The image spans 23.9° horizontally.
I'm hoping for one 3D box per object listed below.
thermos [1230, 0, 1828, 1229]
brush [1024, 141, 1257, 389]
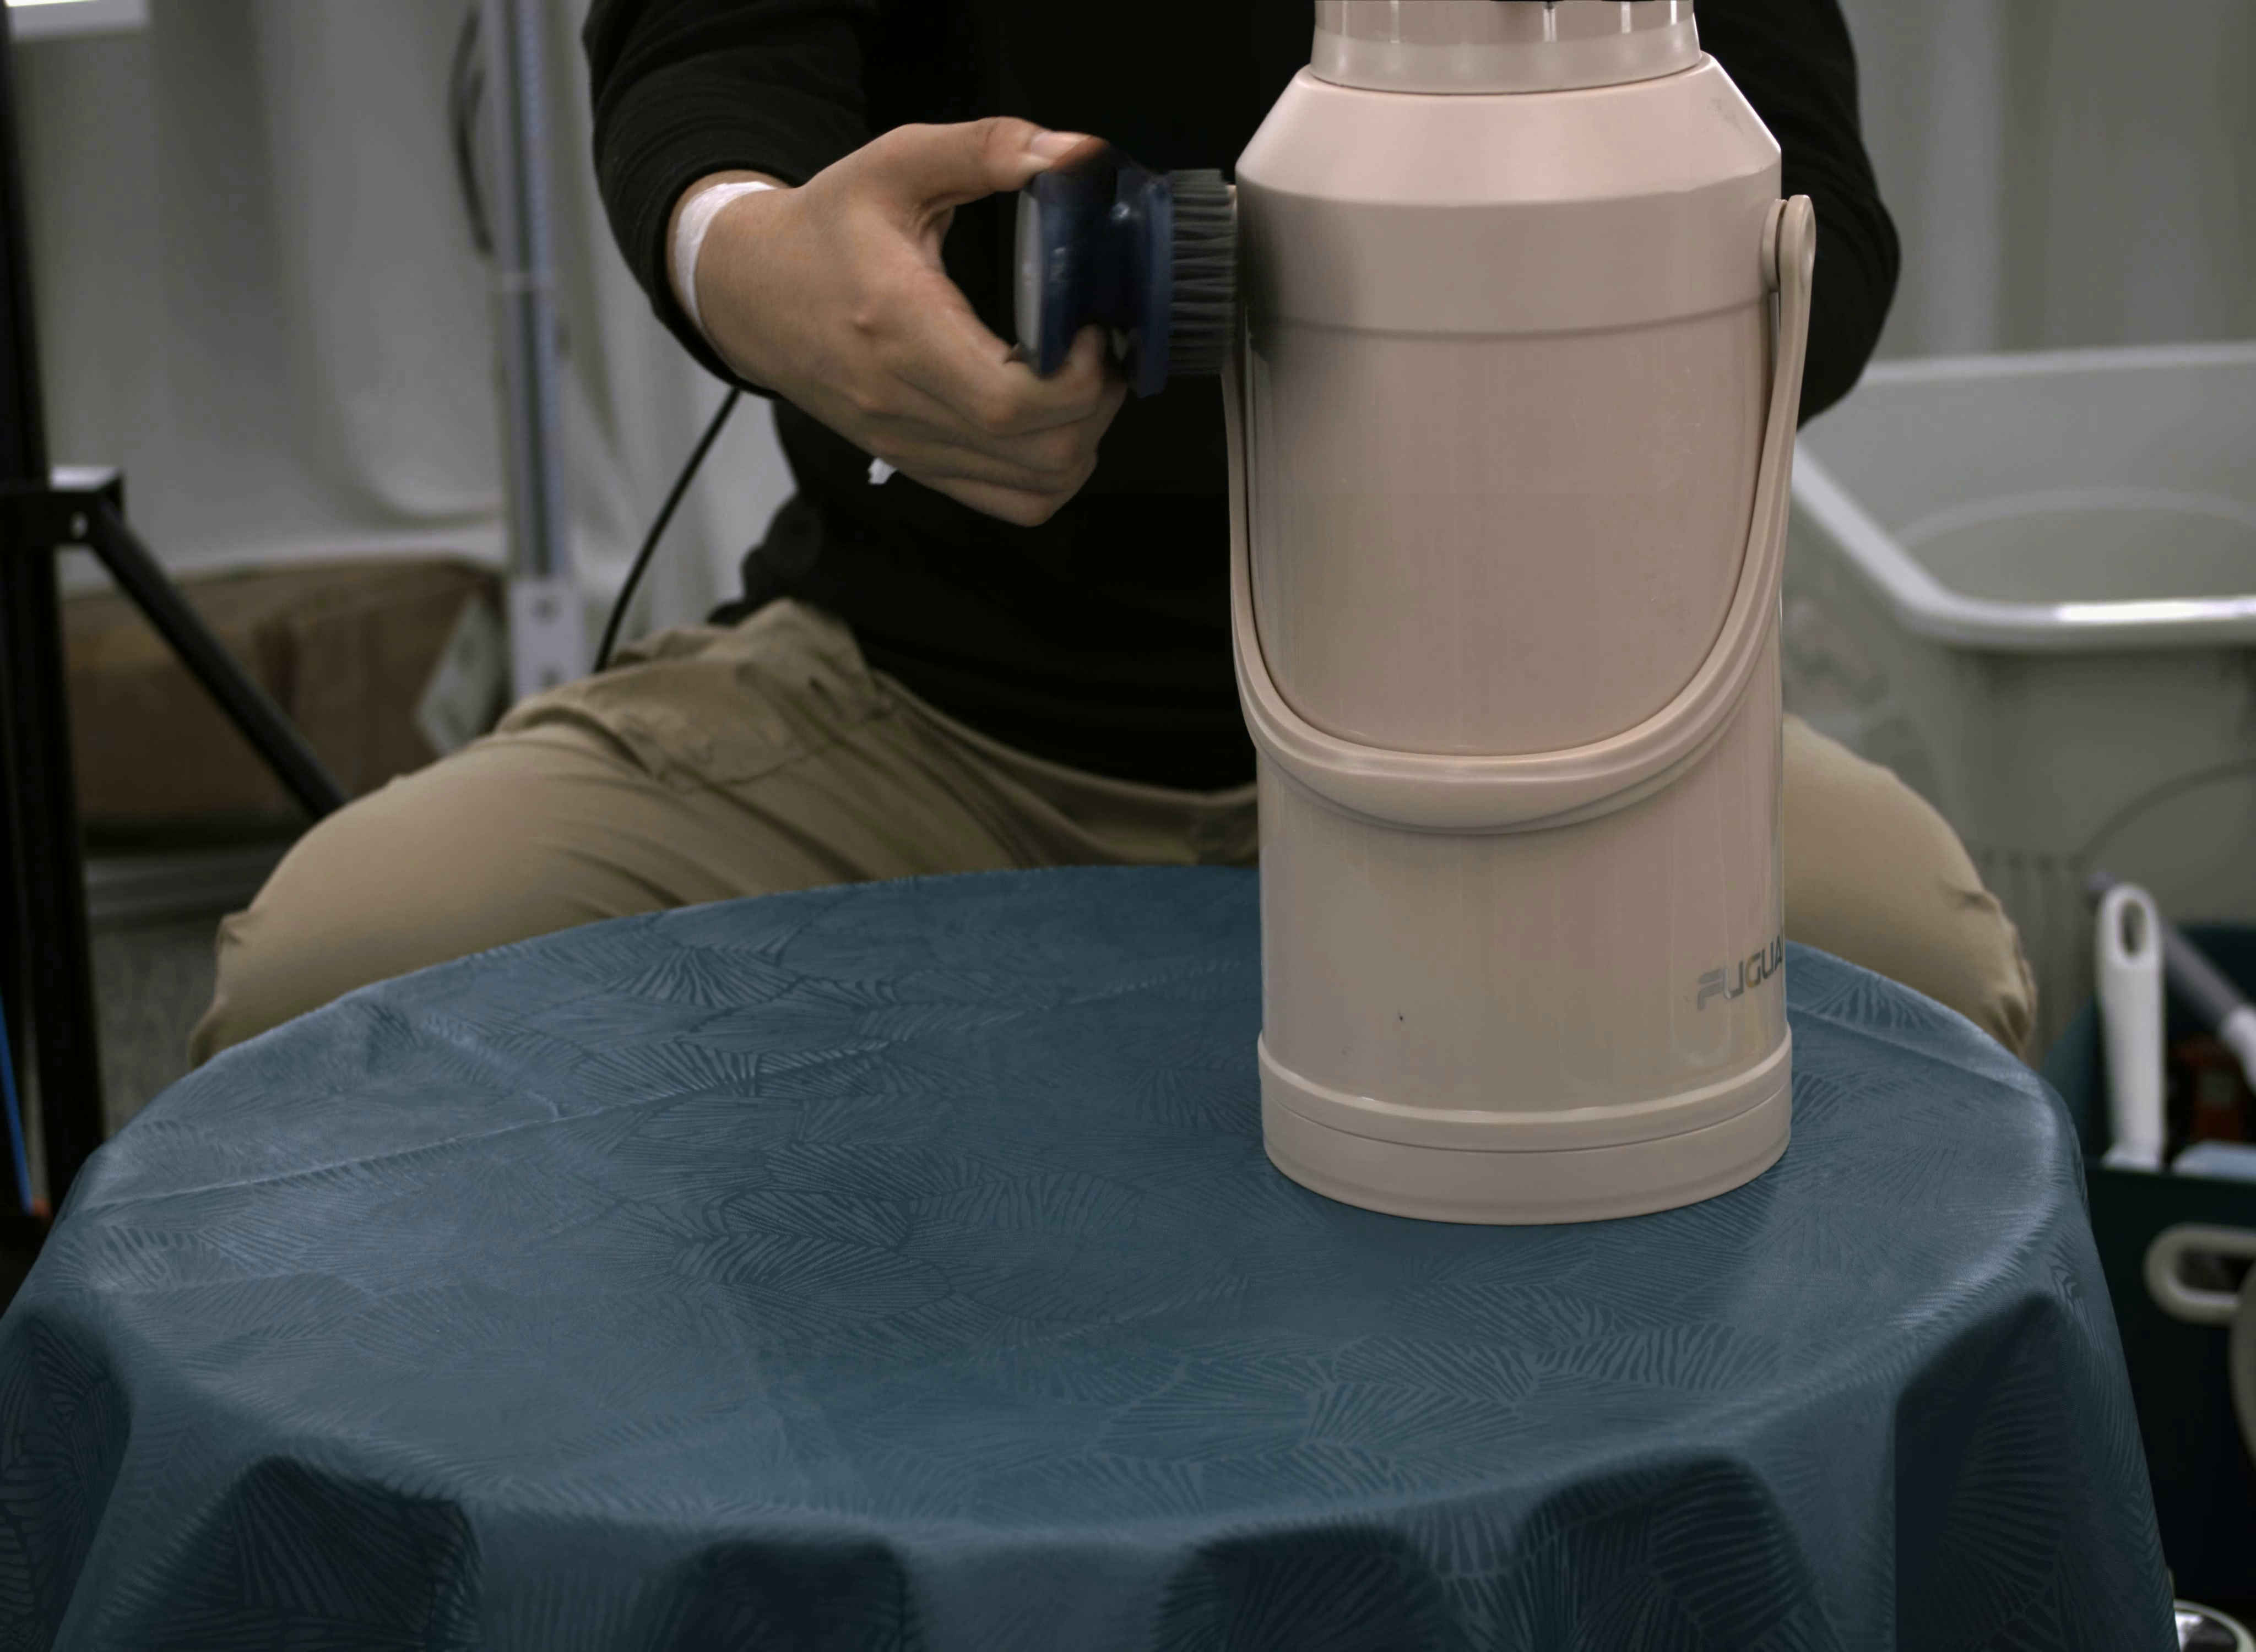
[{"bbox_3d":[0.121,-0.101,1.550,0.177,0.406,0.205,2,16,20],"label":"thermos"},{"bbox_3d":[0.004,-0.158,1.503,0.061,0.068,0.122,-1,12,-4],"label":"brush"}]
